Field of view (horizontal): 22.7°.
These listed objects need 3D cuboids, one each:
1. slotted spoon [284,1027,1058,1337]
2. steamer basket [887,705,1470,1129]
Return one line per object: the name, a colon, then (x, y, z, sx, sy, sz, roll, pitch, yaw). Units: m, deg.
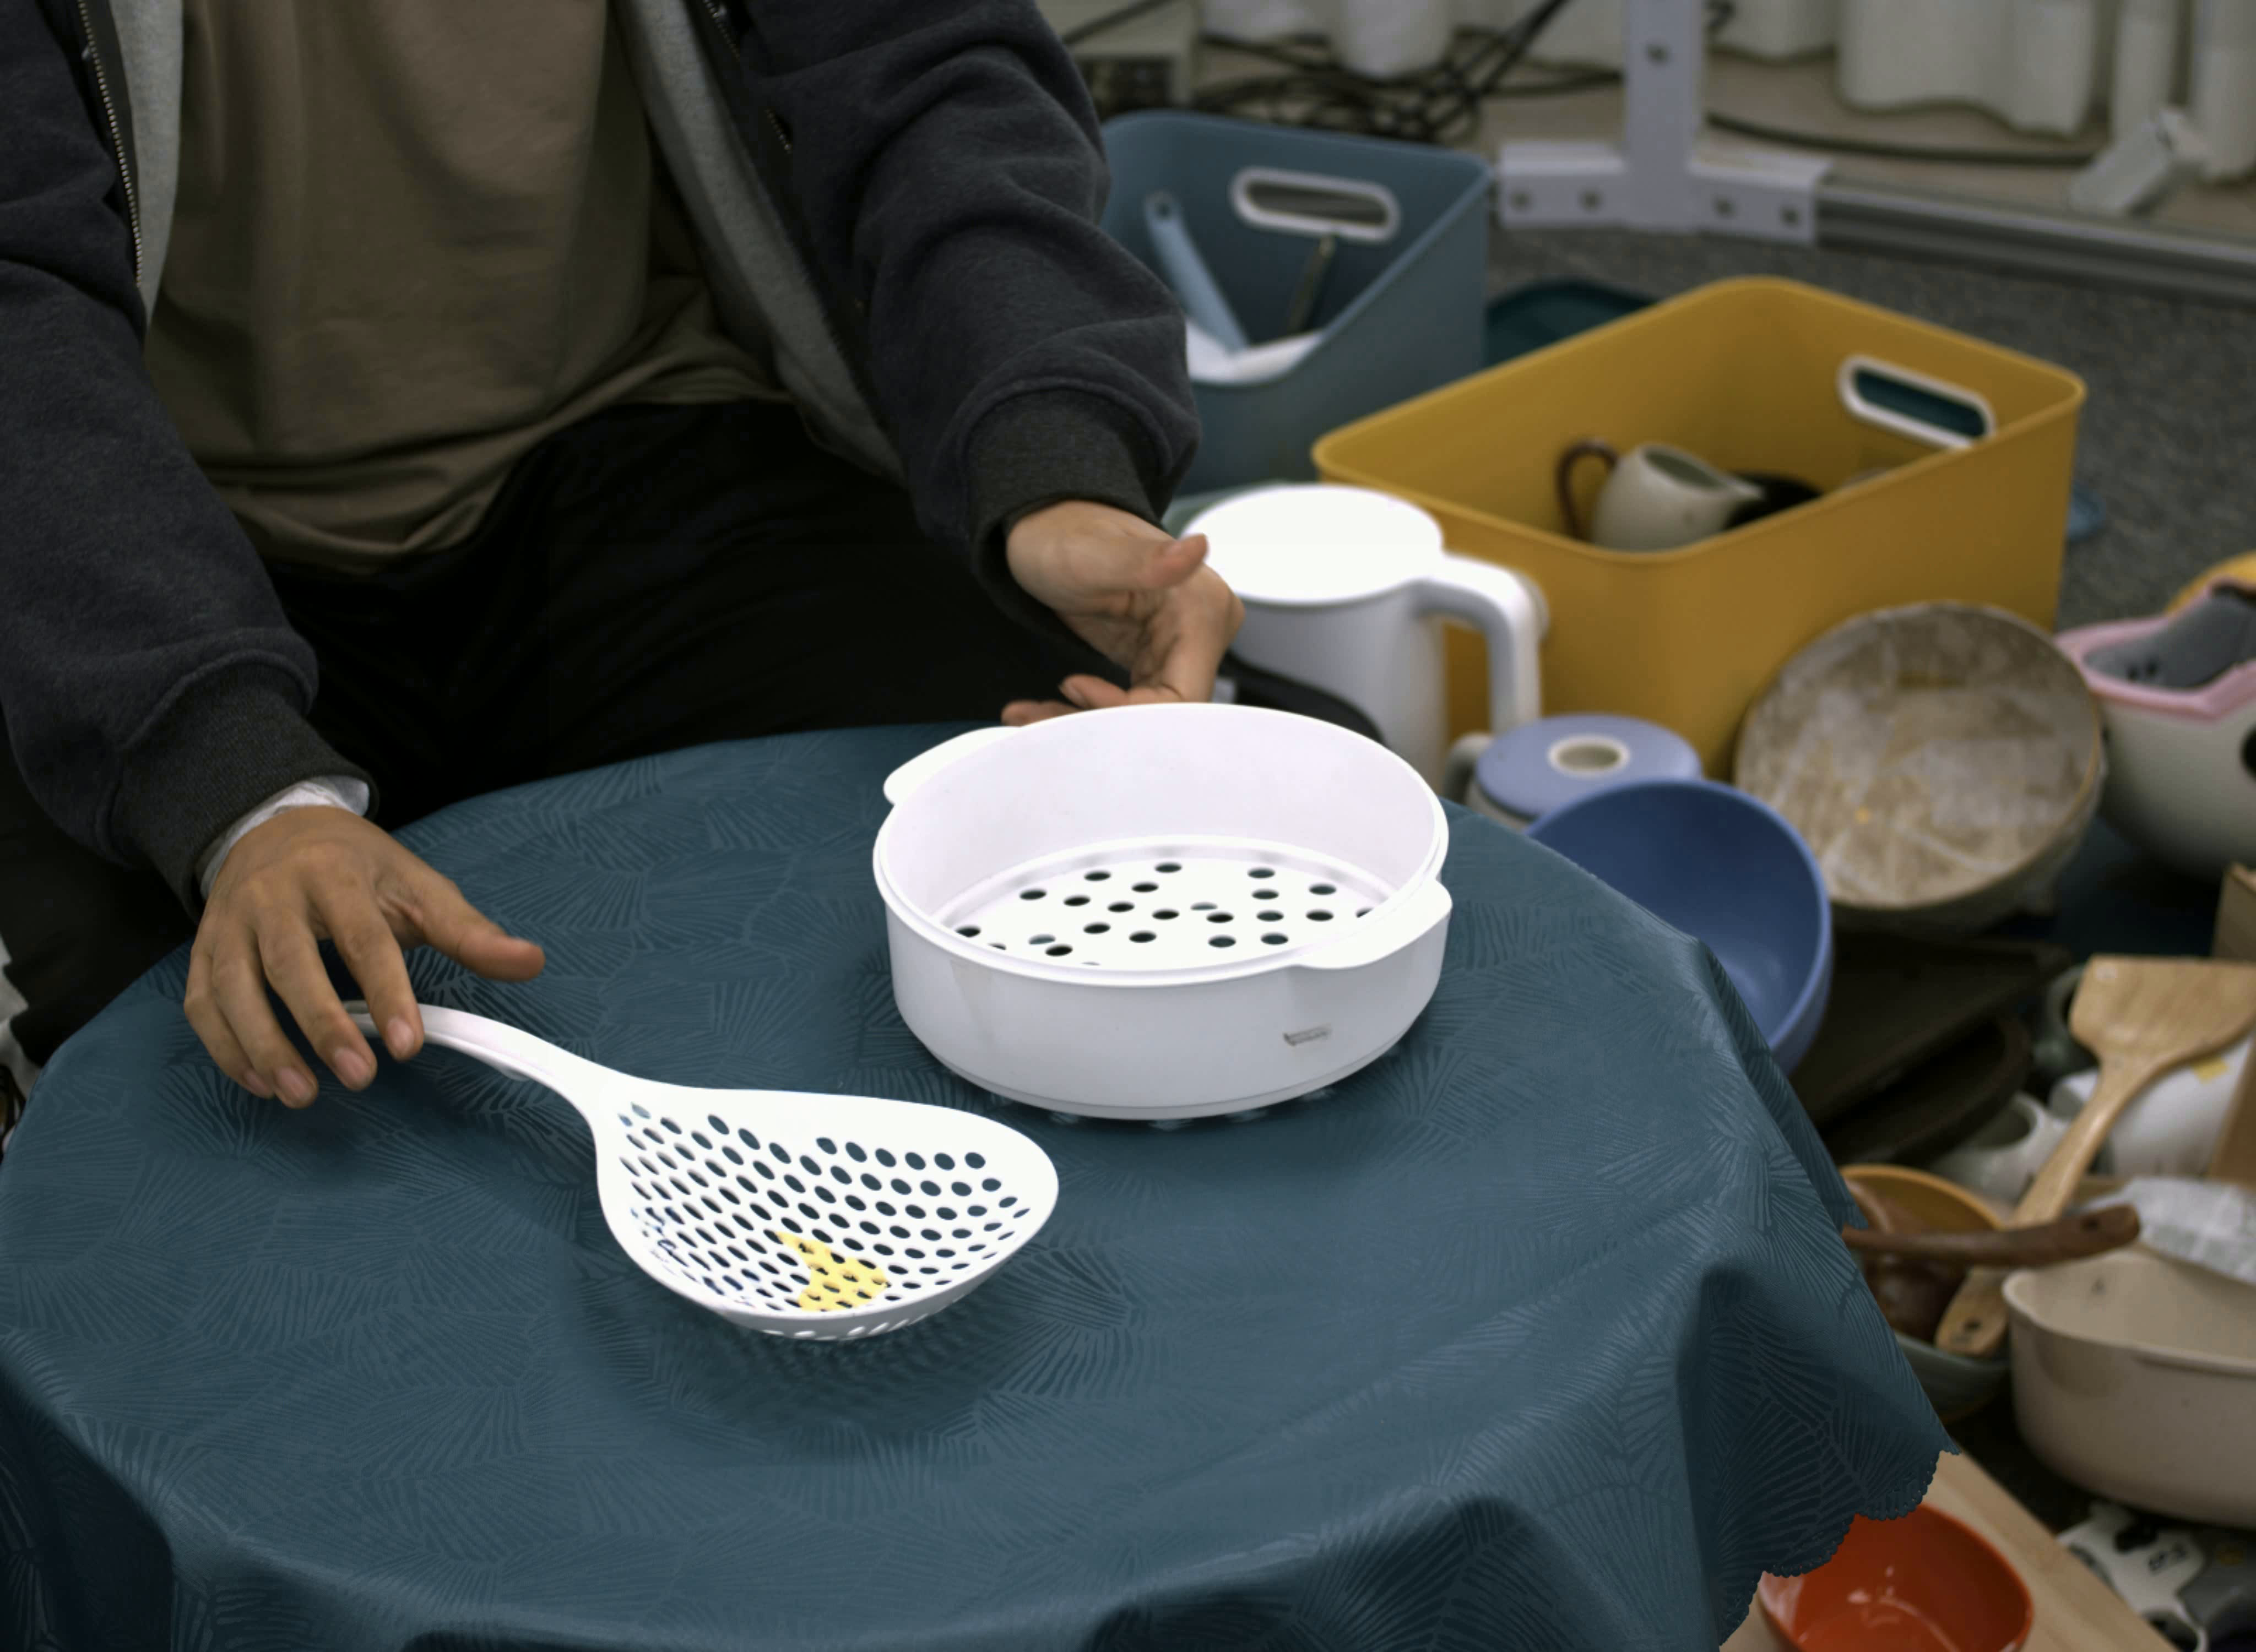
slotted spoon: (-0.167, 0.104, 1.871, 0.347, 0.050, 0.138, 22, 39, 40)
steamer basket: (0.017, 0.032, 1.960, 0.230, 0.068, 0.204, 23, 36, 36)
